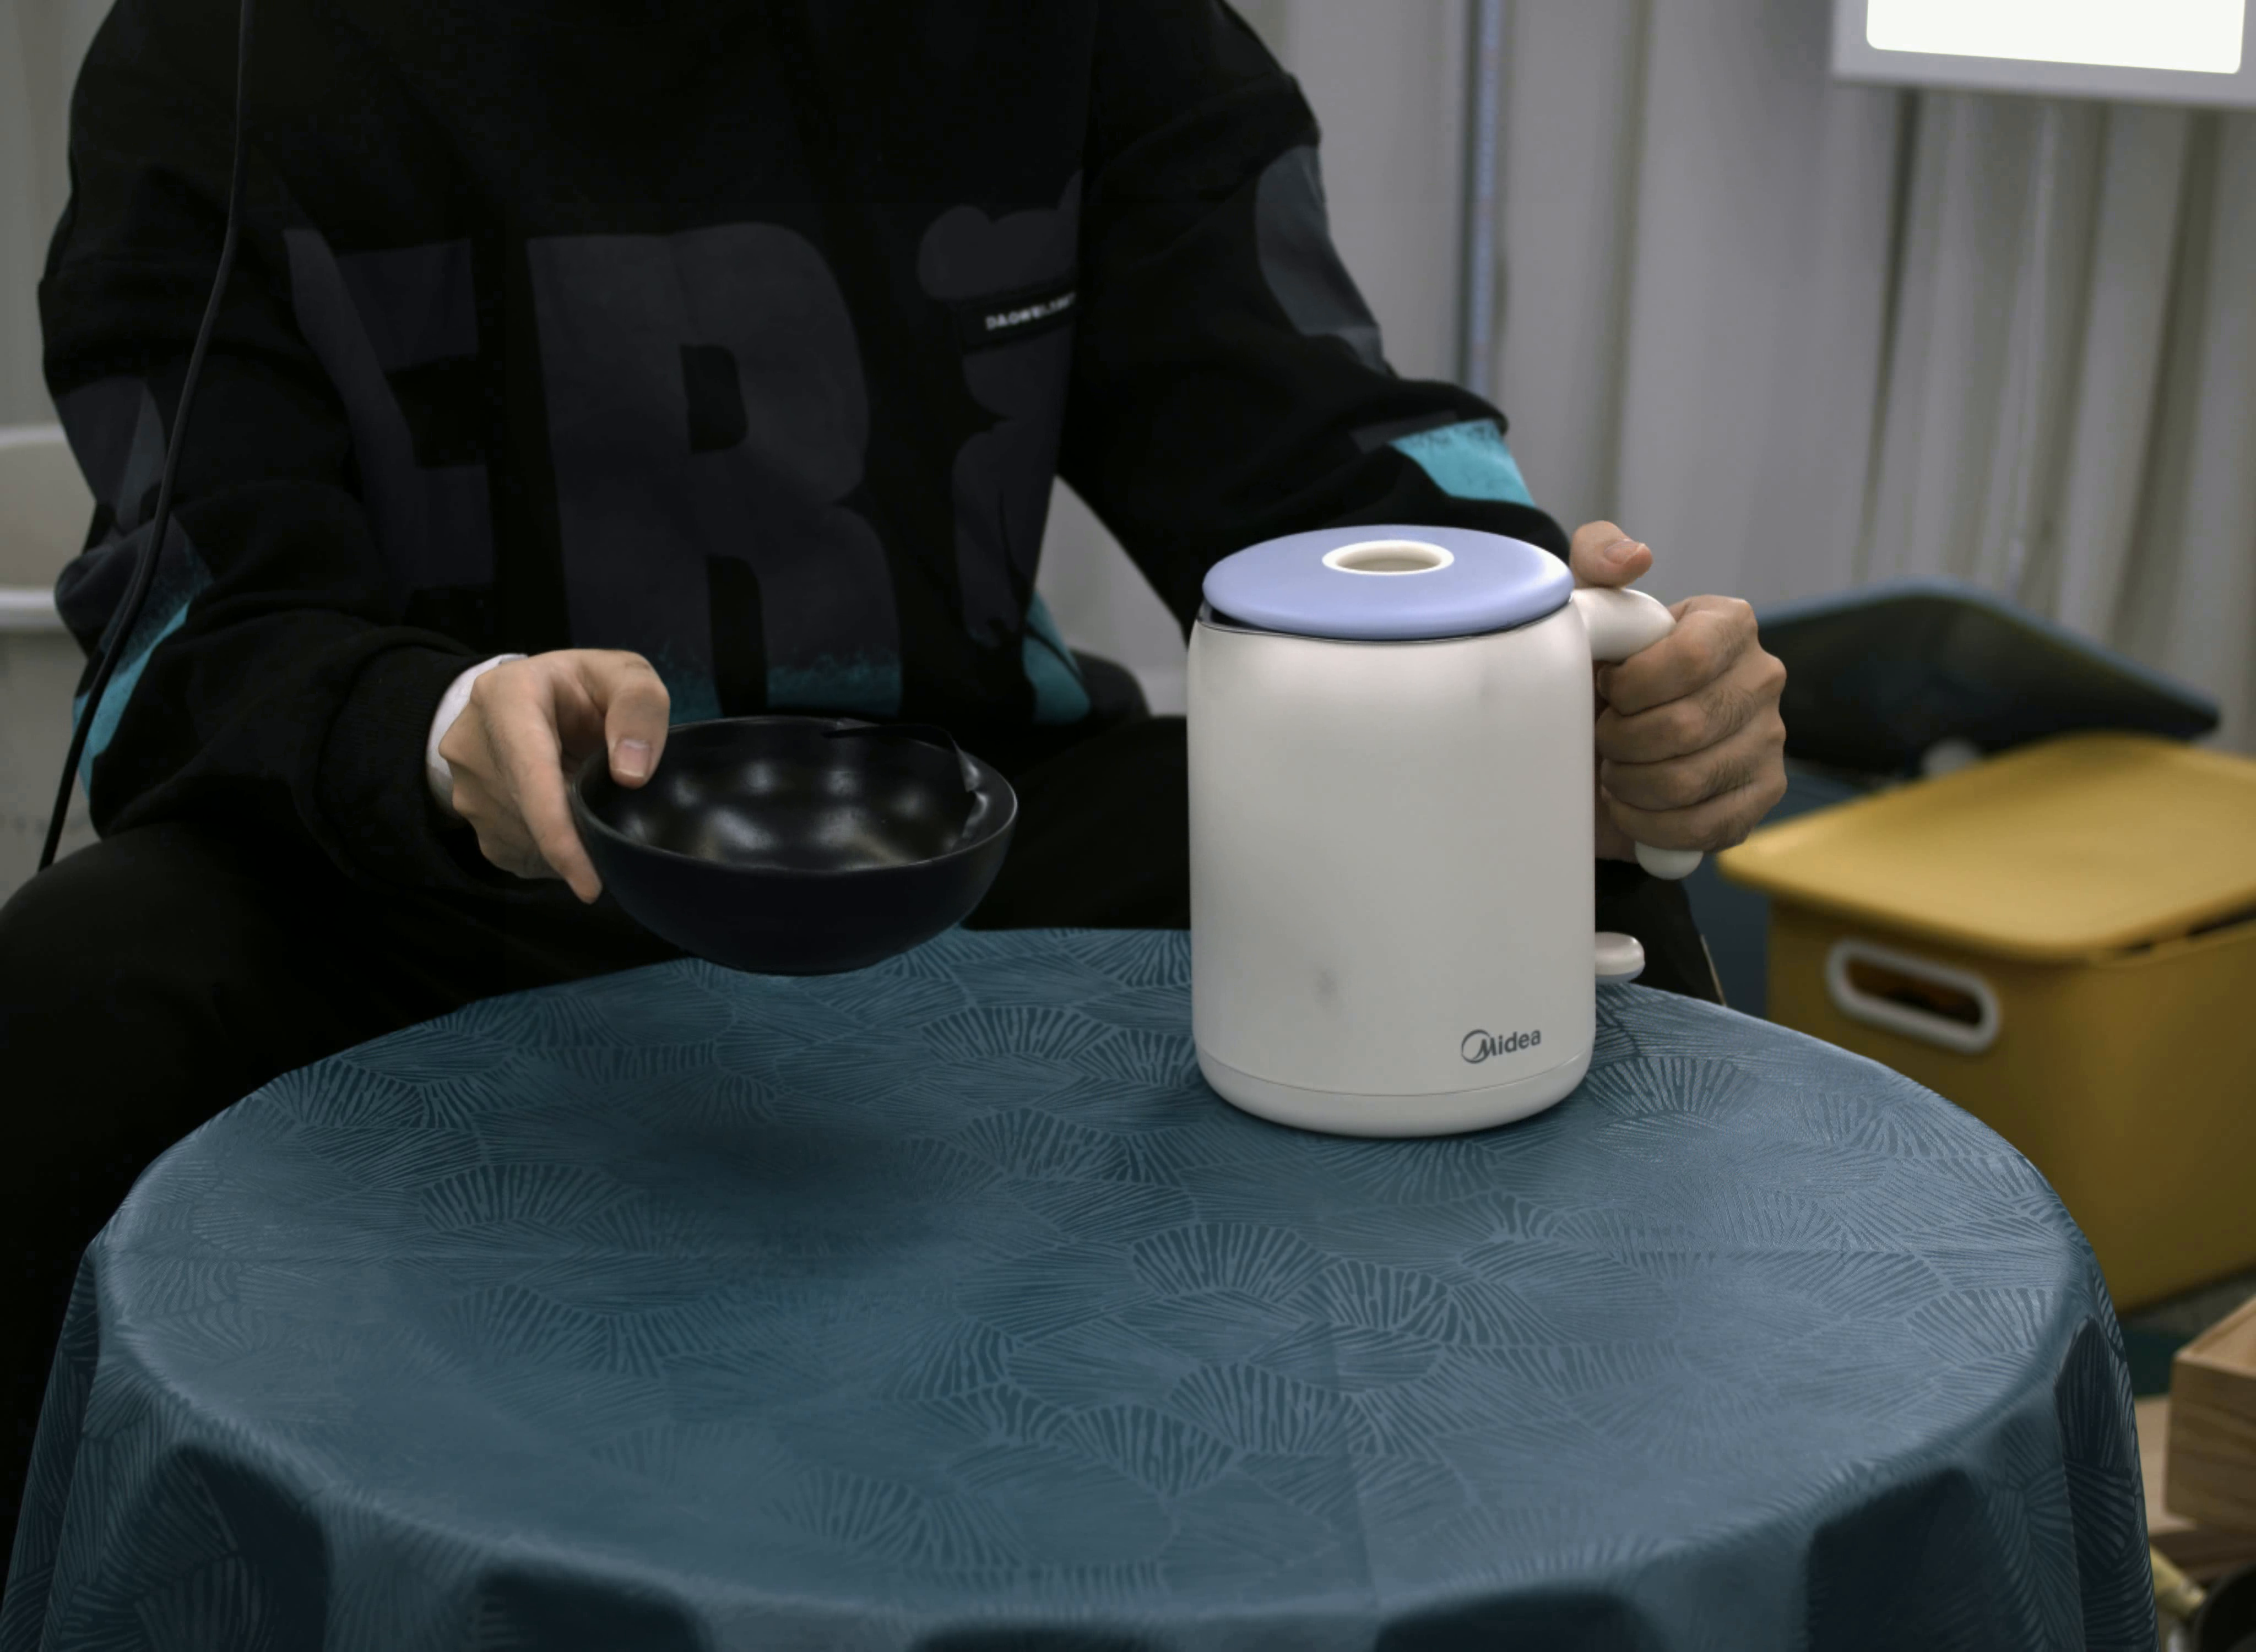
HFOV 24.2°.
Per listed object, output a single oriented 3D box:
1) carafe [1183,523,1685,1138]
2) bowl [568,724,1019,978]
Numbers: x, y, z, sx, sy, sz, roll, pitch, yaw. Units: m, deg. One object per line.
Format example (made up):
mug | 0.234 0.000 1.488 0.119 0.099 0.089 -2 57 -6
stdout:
carafe | 0.105 -0.003 1.710 0.192 0.184 0.130 -8 20 -31
bowl | -0.103 0.012 1.626 0.139 0.050 0.139 2 18 0
